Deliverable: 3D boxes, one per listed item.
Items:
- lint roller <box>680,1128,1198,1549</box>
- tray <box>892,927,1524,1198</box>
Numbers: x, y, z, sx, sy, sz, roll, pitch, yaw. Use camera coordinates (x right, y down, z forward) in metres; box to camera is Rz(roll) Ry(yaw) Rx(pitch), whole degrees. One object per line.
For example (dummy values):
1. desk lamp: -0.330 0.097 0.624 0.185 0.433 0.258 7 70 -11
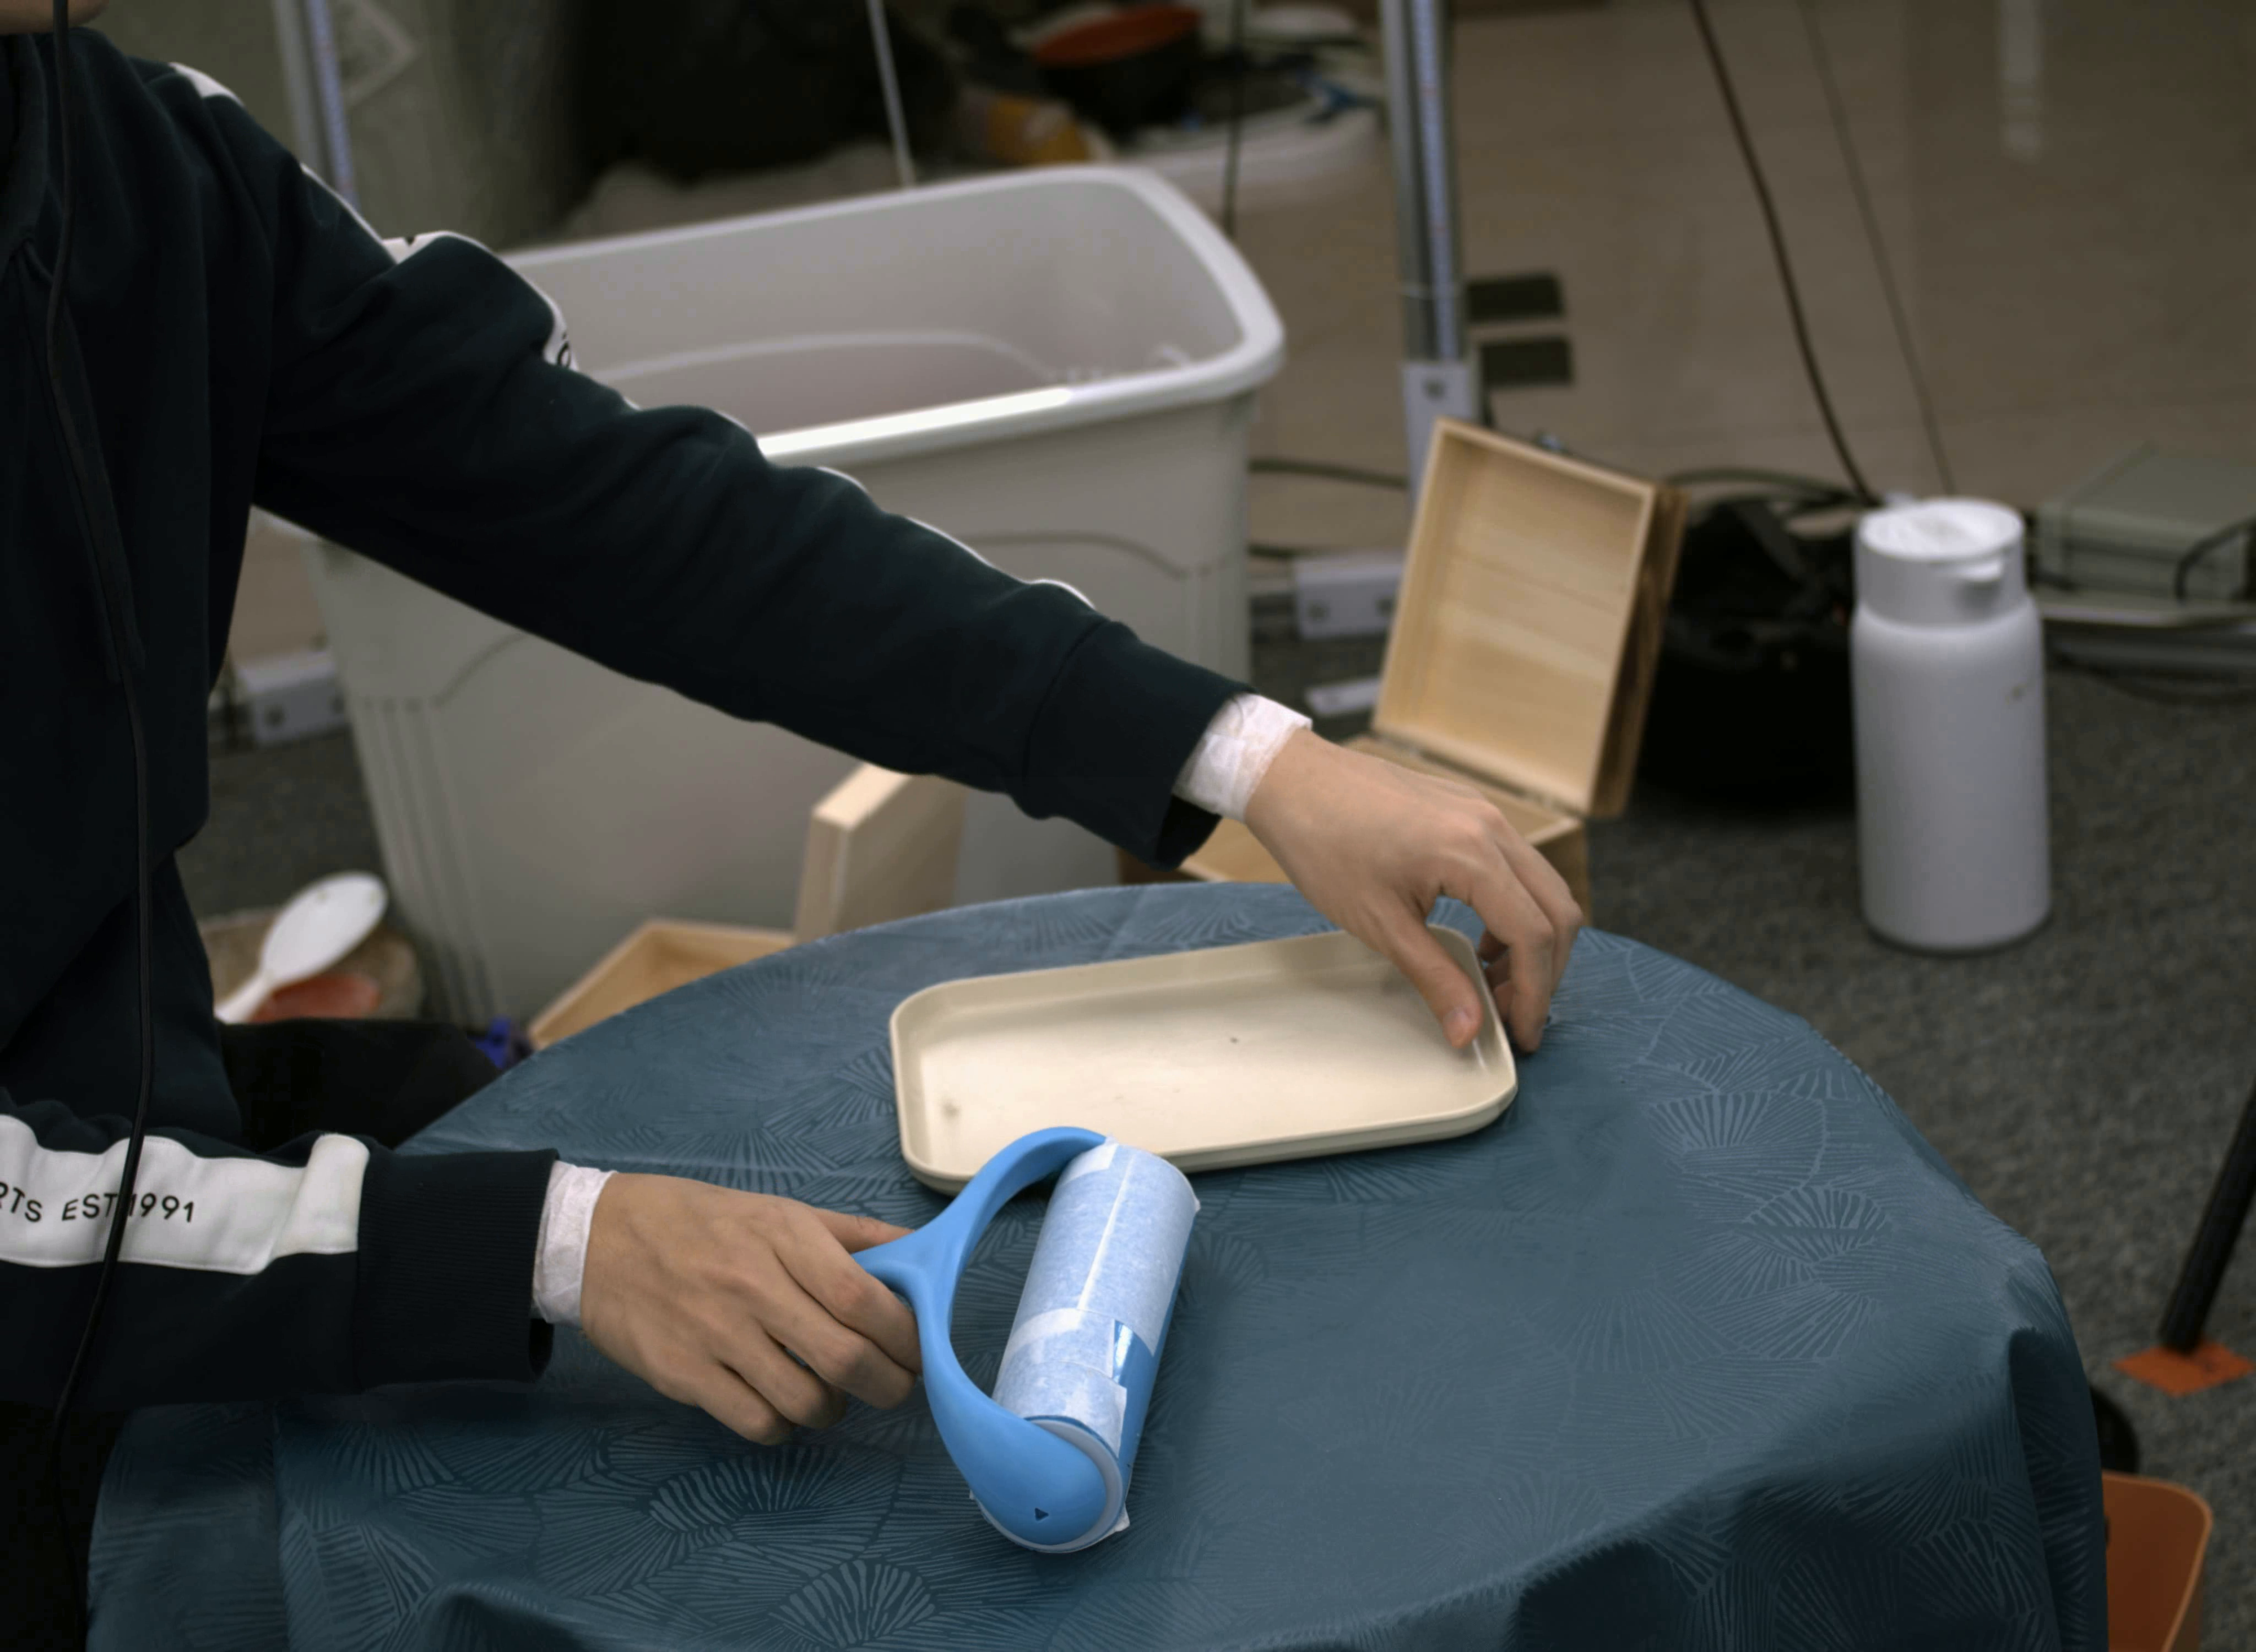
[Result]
1. lint roller: -0.072 0.179 2.000 0.180 0.069 0.225 0 27 5
2. tray: 0.029 0.093 2.215 0.239 0.018 0.169 -7 24 -2
